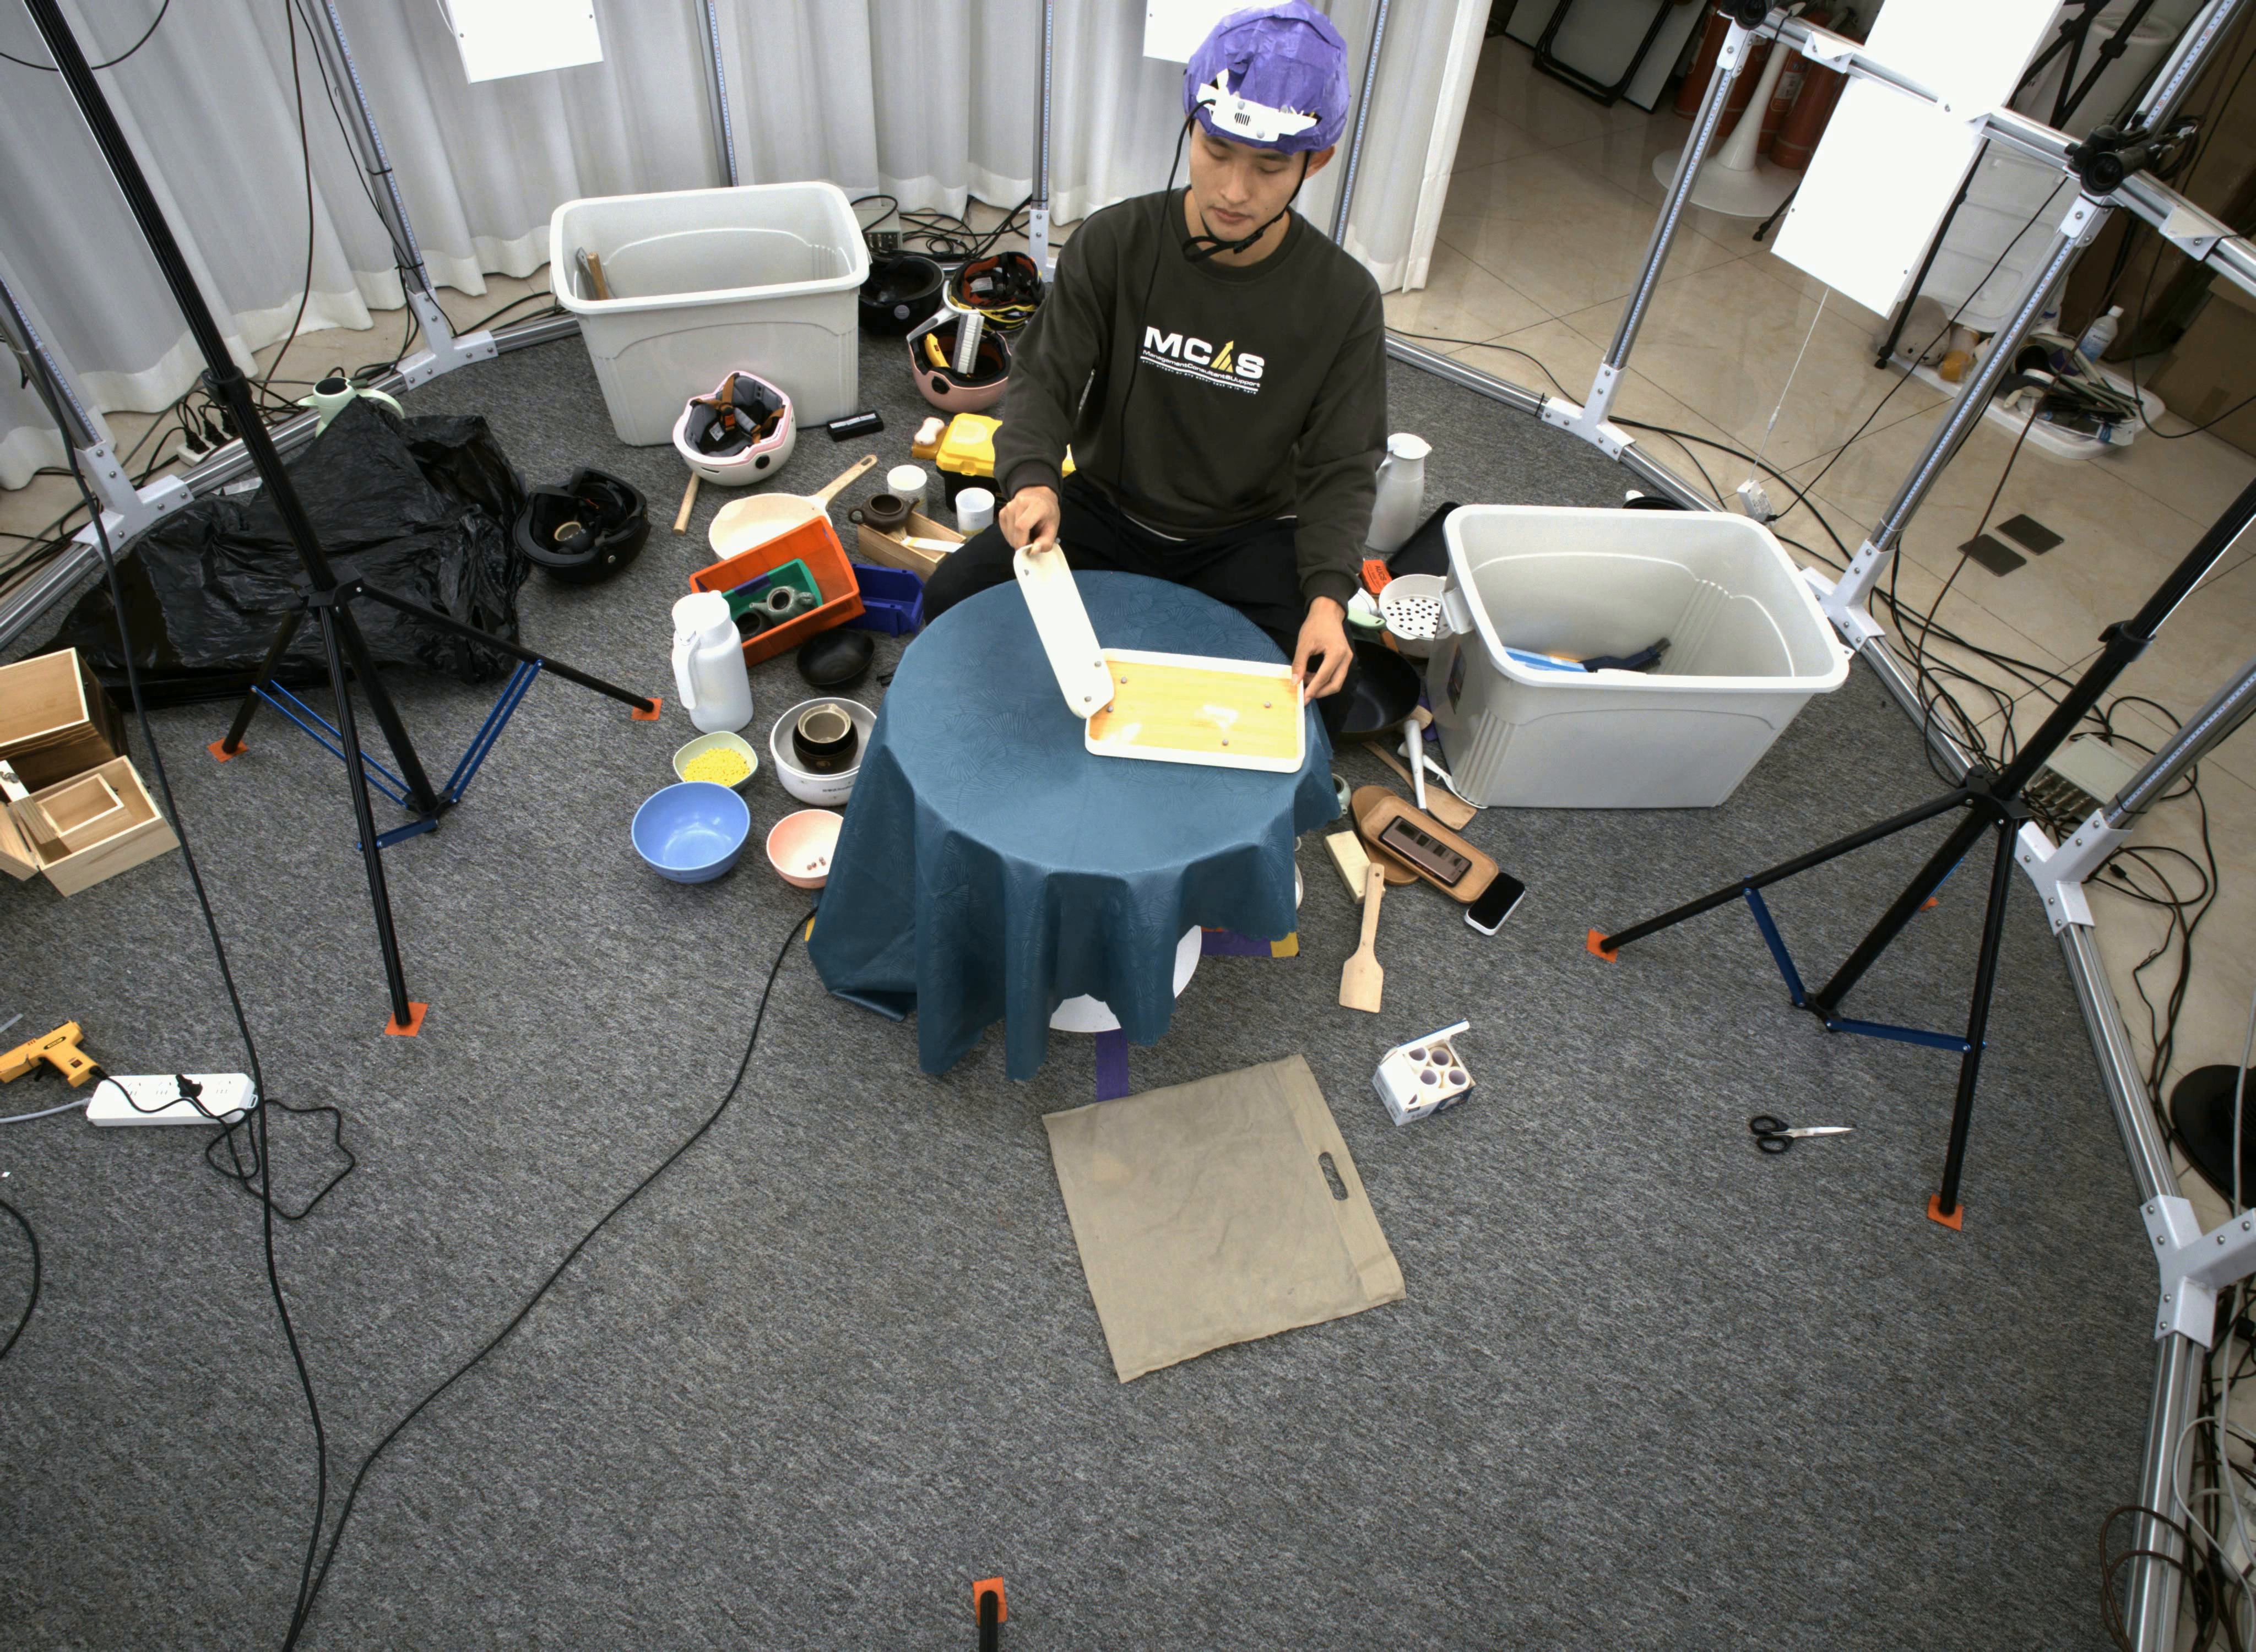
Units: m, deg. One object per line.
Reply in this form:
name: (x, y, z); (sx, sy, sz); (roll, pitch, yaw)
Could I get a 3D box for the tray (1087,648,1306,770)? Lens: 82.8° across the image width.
tray: (0.097, -0.166, 1.799); (0.300, 0.027, 0.196); (5, 48, 0)

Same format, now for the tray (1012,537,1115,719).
tray: (-0.086, -0.268, 1.738); (0.017, 0.238, 0.173); (-18, 11, 21)
